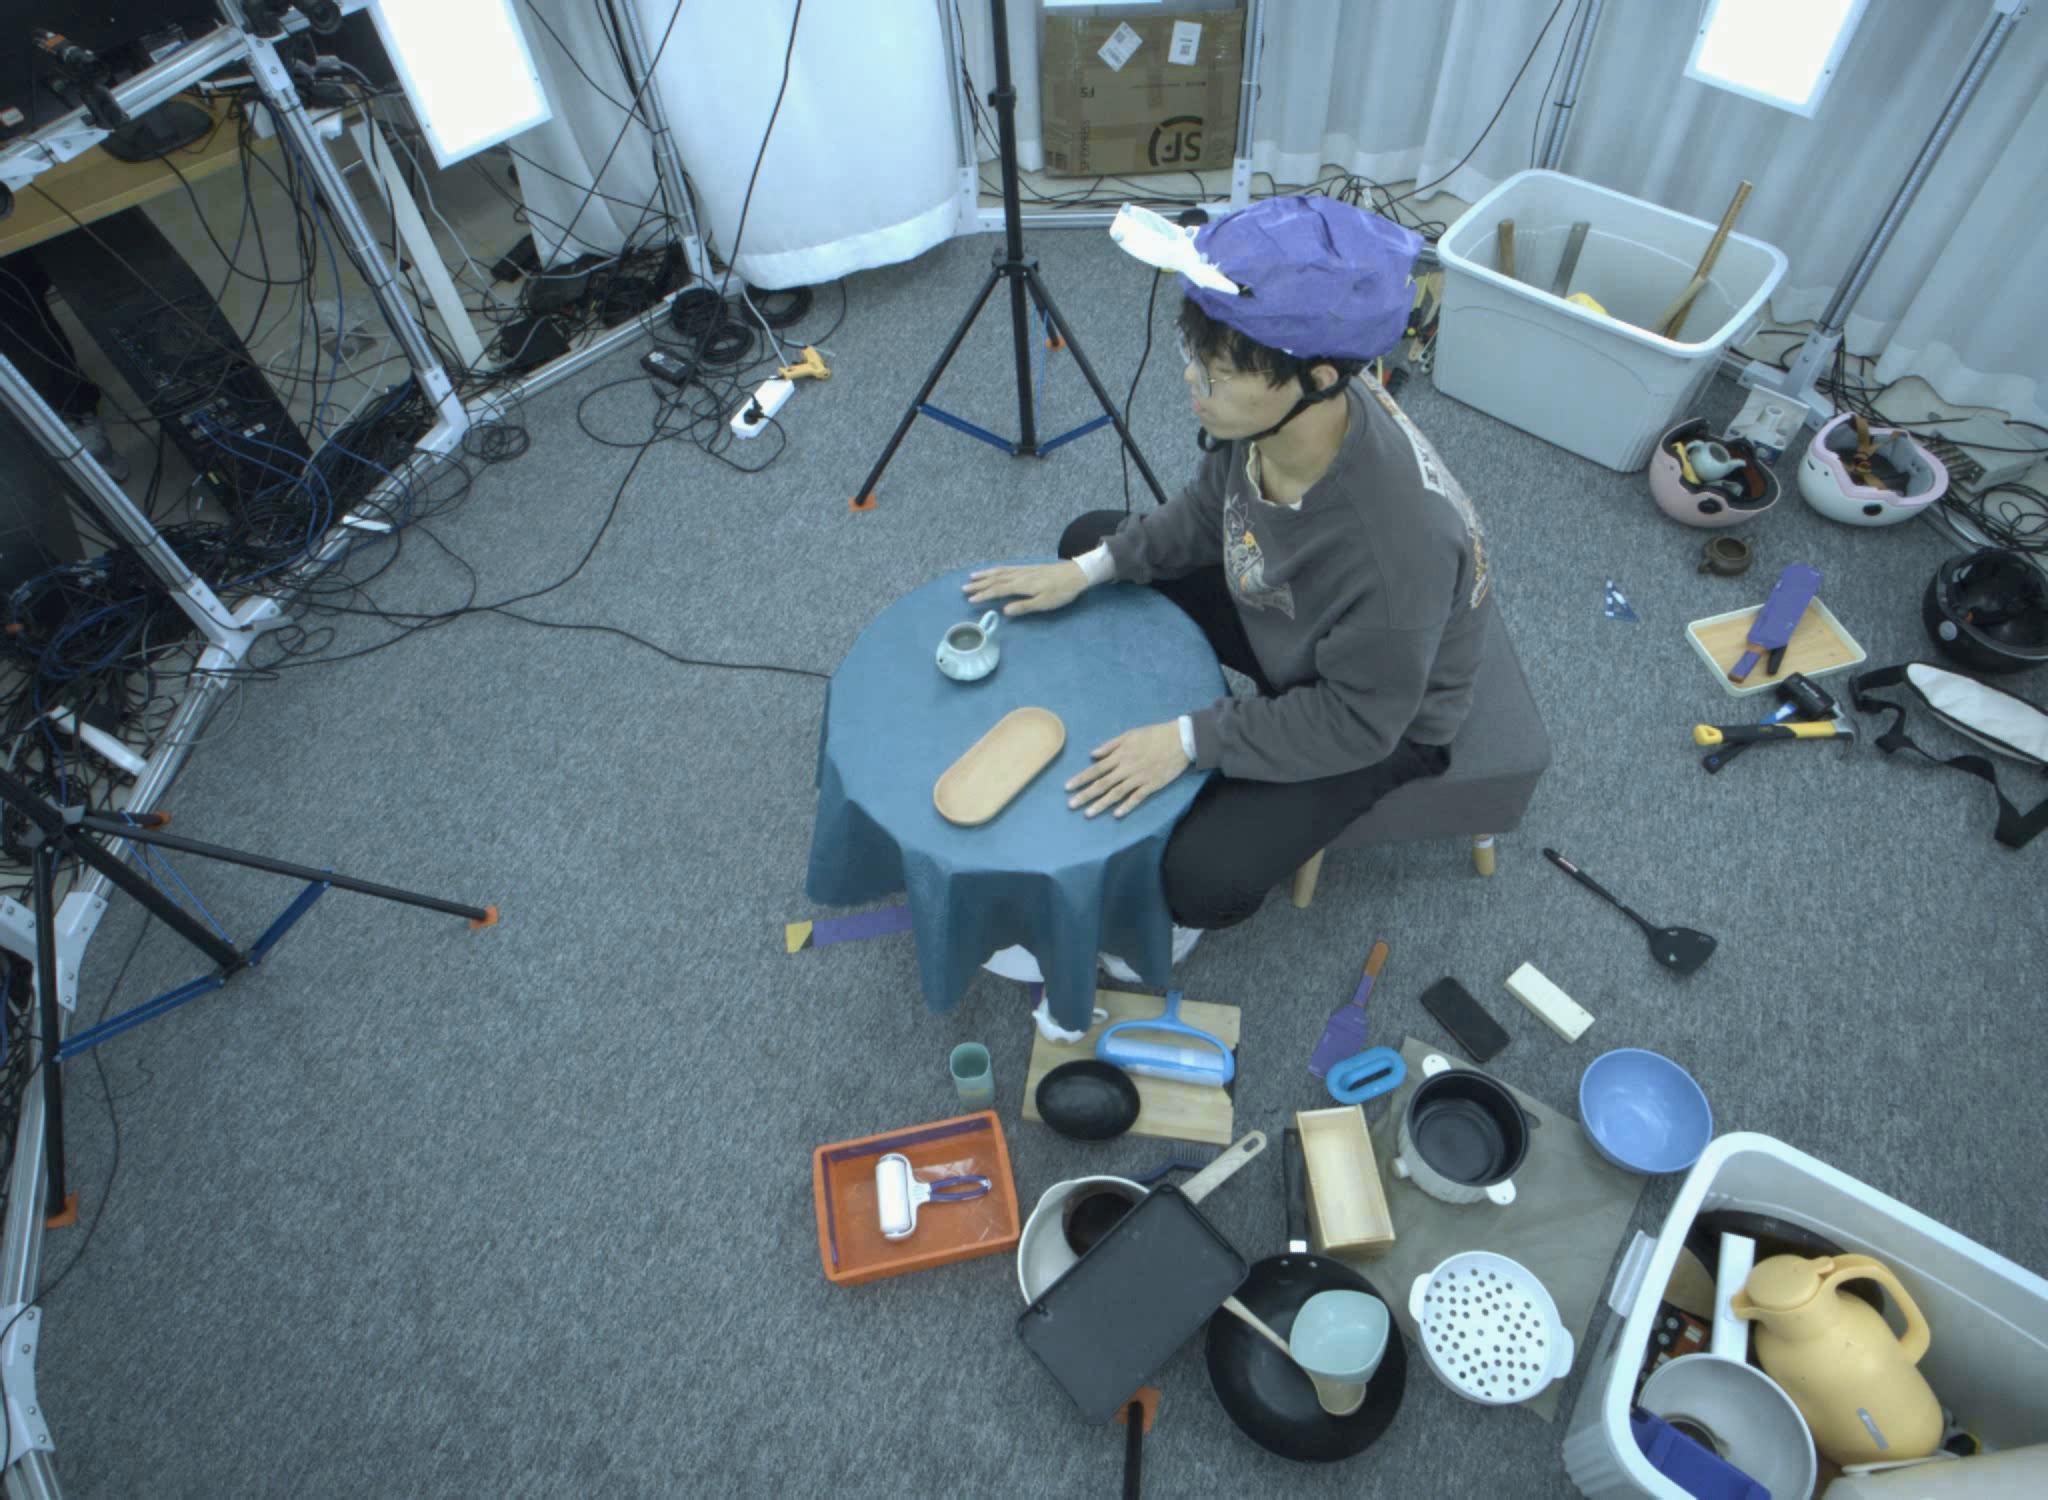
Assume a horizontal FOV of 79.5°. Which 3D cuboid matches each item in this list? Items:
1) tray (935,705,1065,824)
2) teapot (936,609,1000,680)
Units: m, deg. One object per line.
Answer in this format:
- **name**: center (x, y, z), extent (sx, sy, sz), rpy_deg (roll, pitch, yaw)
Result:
- **tray**: center (-0.033, 0.020, 1.761), extent (0.100, 0.020, 0.232), rpy_deg (34, 61, 23)
- **teapot**: center (-0.084, -0.157, 1.863), extent (0.094, 0.062, 0.137), rpy_deg (27, 60, 22)
